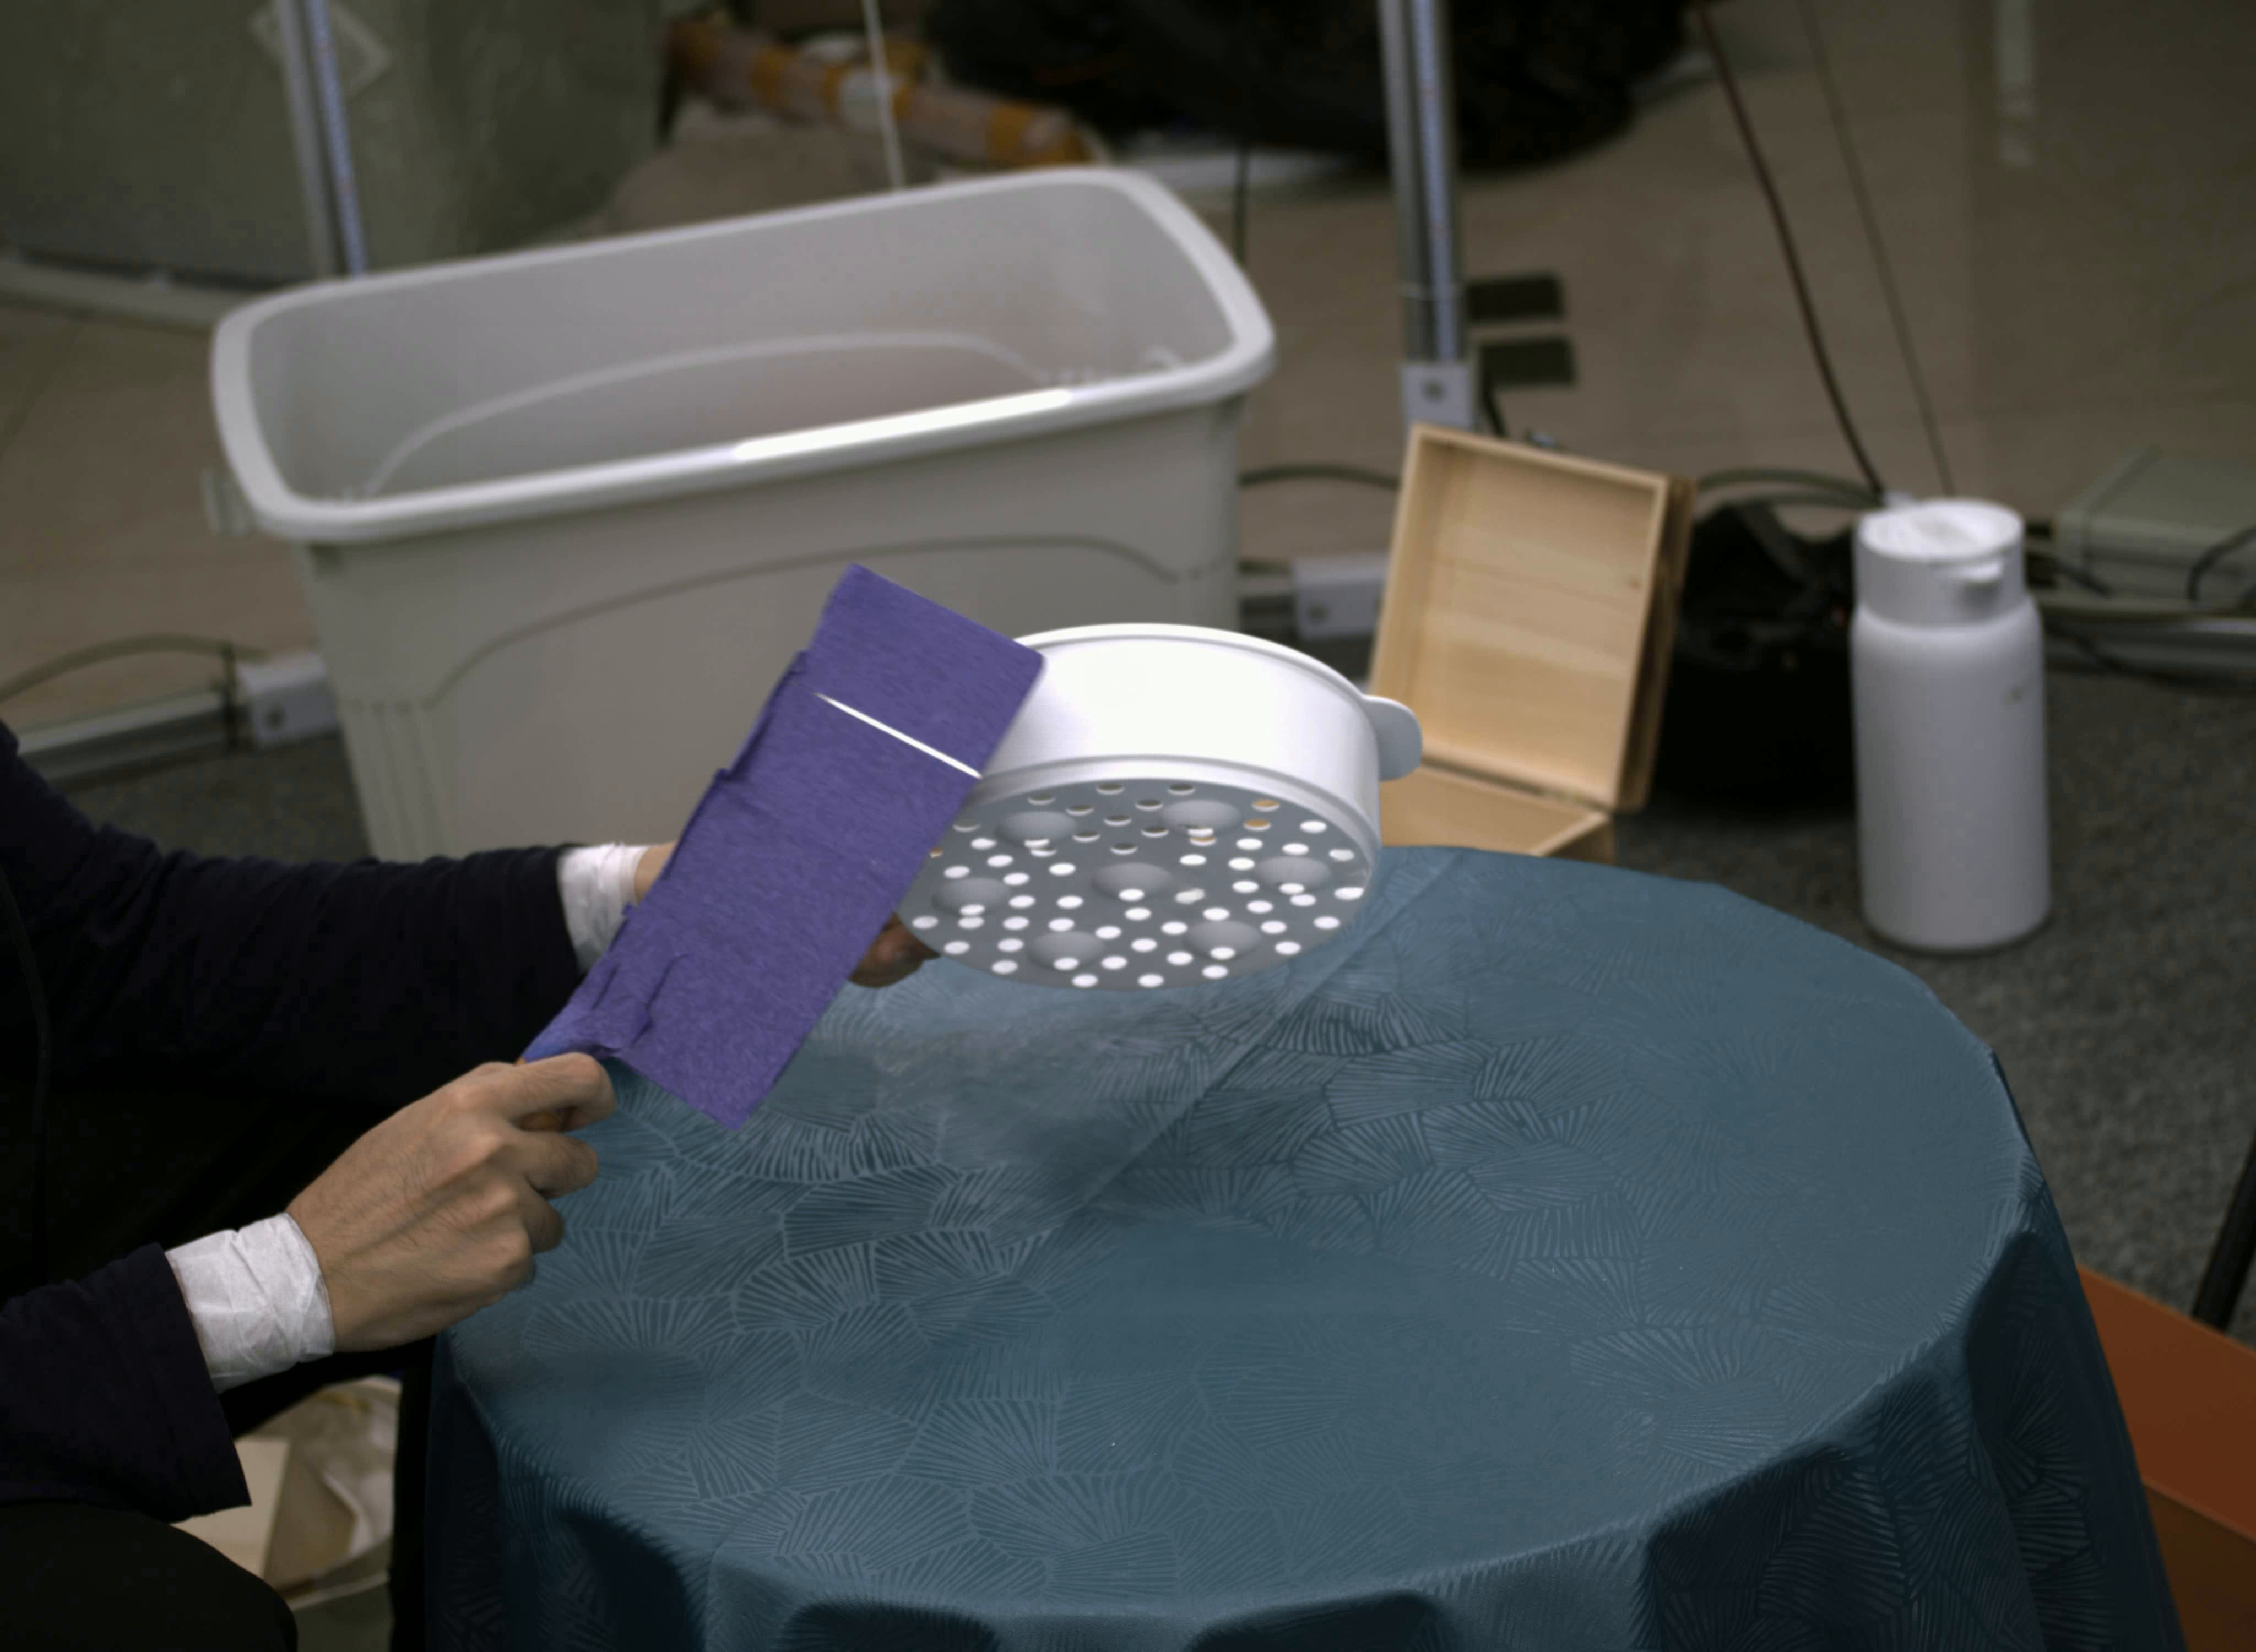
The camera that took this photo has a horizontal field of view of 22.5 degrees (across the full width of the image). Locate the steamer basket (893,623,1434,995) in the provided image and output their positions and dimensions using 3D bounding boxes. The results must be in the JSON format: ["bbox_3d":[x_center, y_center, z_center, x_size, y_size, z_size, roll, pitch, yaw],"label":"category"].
[{"bbox_3d":[0.005,-0.001,2.179,0.230,0.205,0.068,-6,63,3],"label":"steamer basket"}]

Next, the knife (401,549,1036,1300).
[{"bbox_3d":[-0.146,0.047,2.054,0.103,0.032,0.315,30,85,27],"label":"knife"}]
